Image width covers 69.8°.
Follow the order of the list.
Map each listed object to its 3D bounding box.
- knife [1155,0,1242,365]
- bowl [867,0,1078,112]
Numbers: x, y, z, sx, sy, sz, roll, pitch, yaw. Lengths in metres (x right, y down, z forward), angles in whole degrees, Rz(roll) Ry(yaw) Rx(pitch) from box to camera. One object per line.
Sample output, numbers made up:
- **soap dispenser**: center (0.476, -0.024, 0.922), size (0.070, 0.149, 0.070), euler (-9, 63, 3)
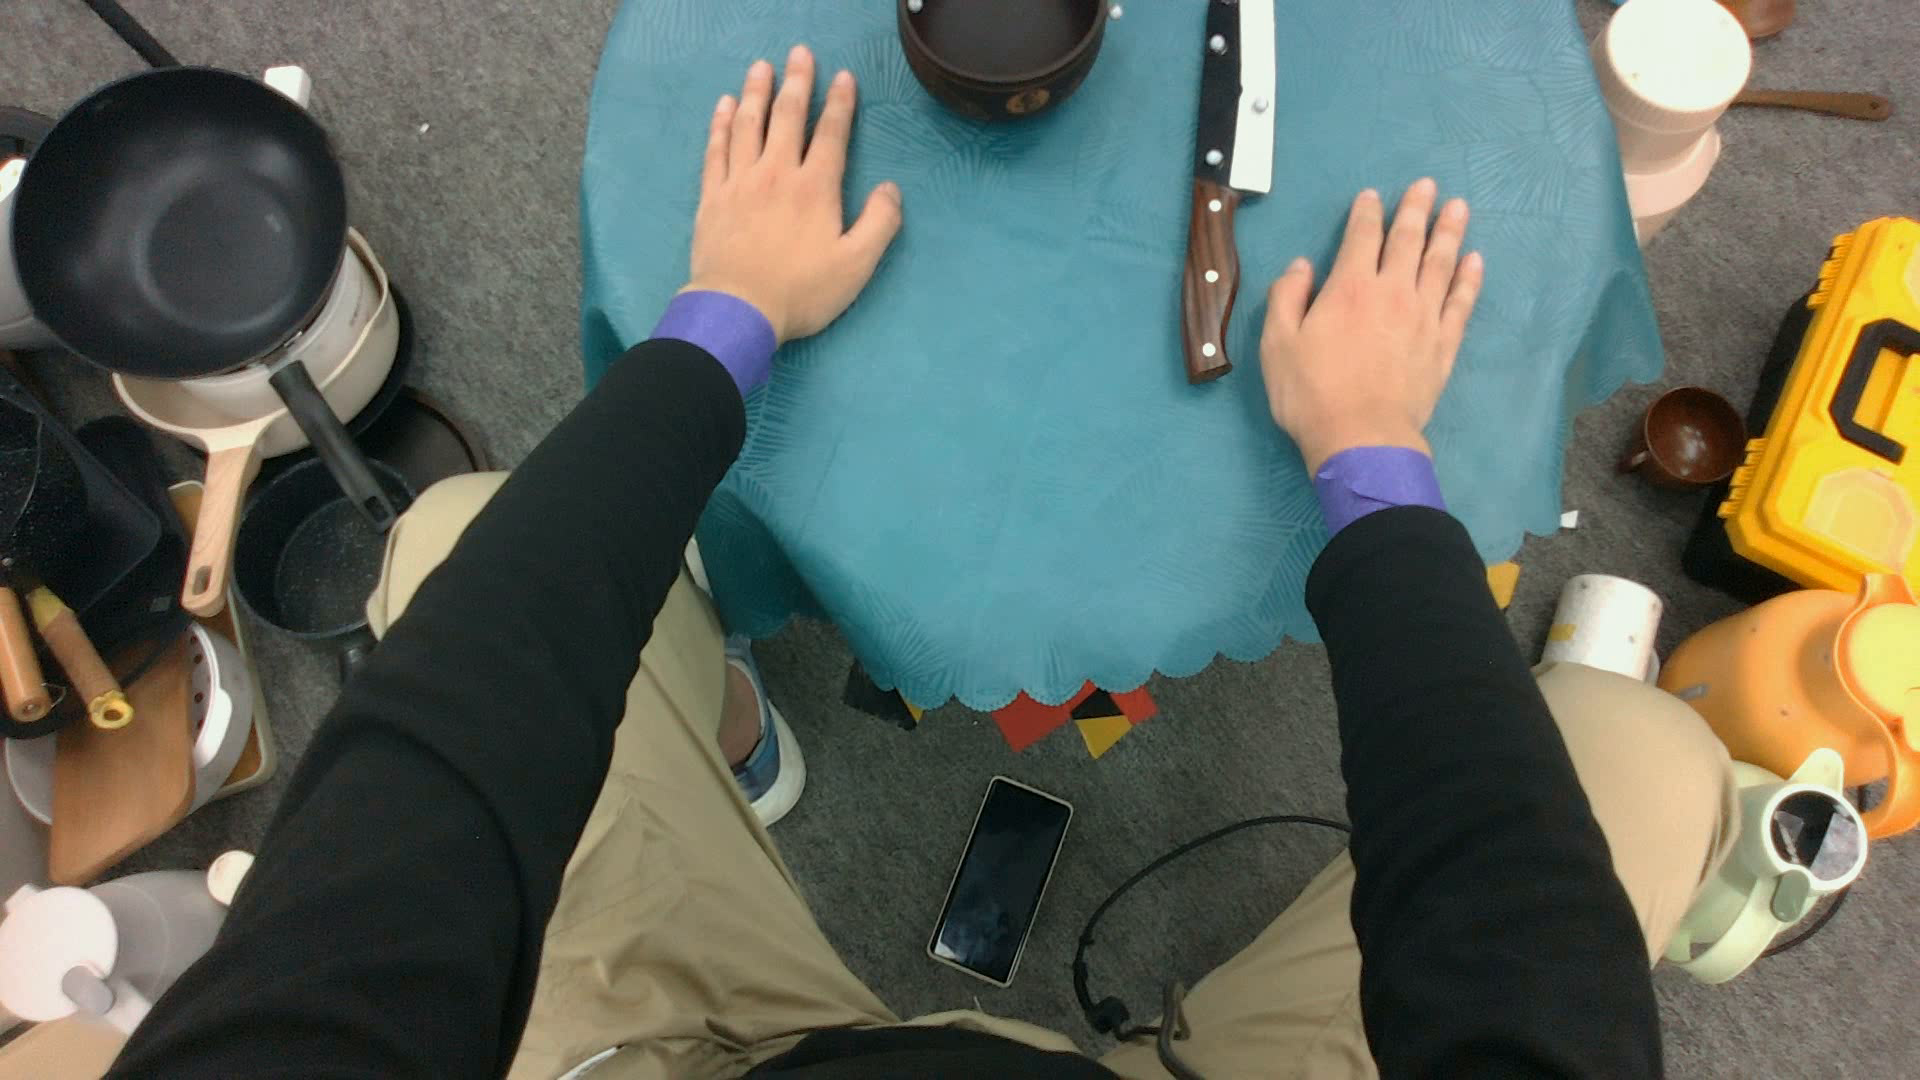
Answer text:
- **knife**: center (0.139, -0.232, 0.797), size (0.050, 0.020, 0.290), euler (9, 71, -3)
- **bowl**: center (0.006, -0.297, 0.787), size (0.118, 0.069, 0.118), euler (0, 75, -1)
